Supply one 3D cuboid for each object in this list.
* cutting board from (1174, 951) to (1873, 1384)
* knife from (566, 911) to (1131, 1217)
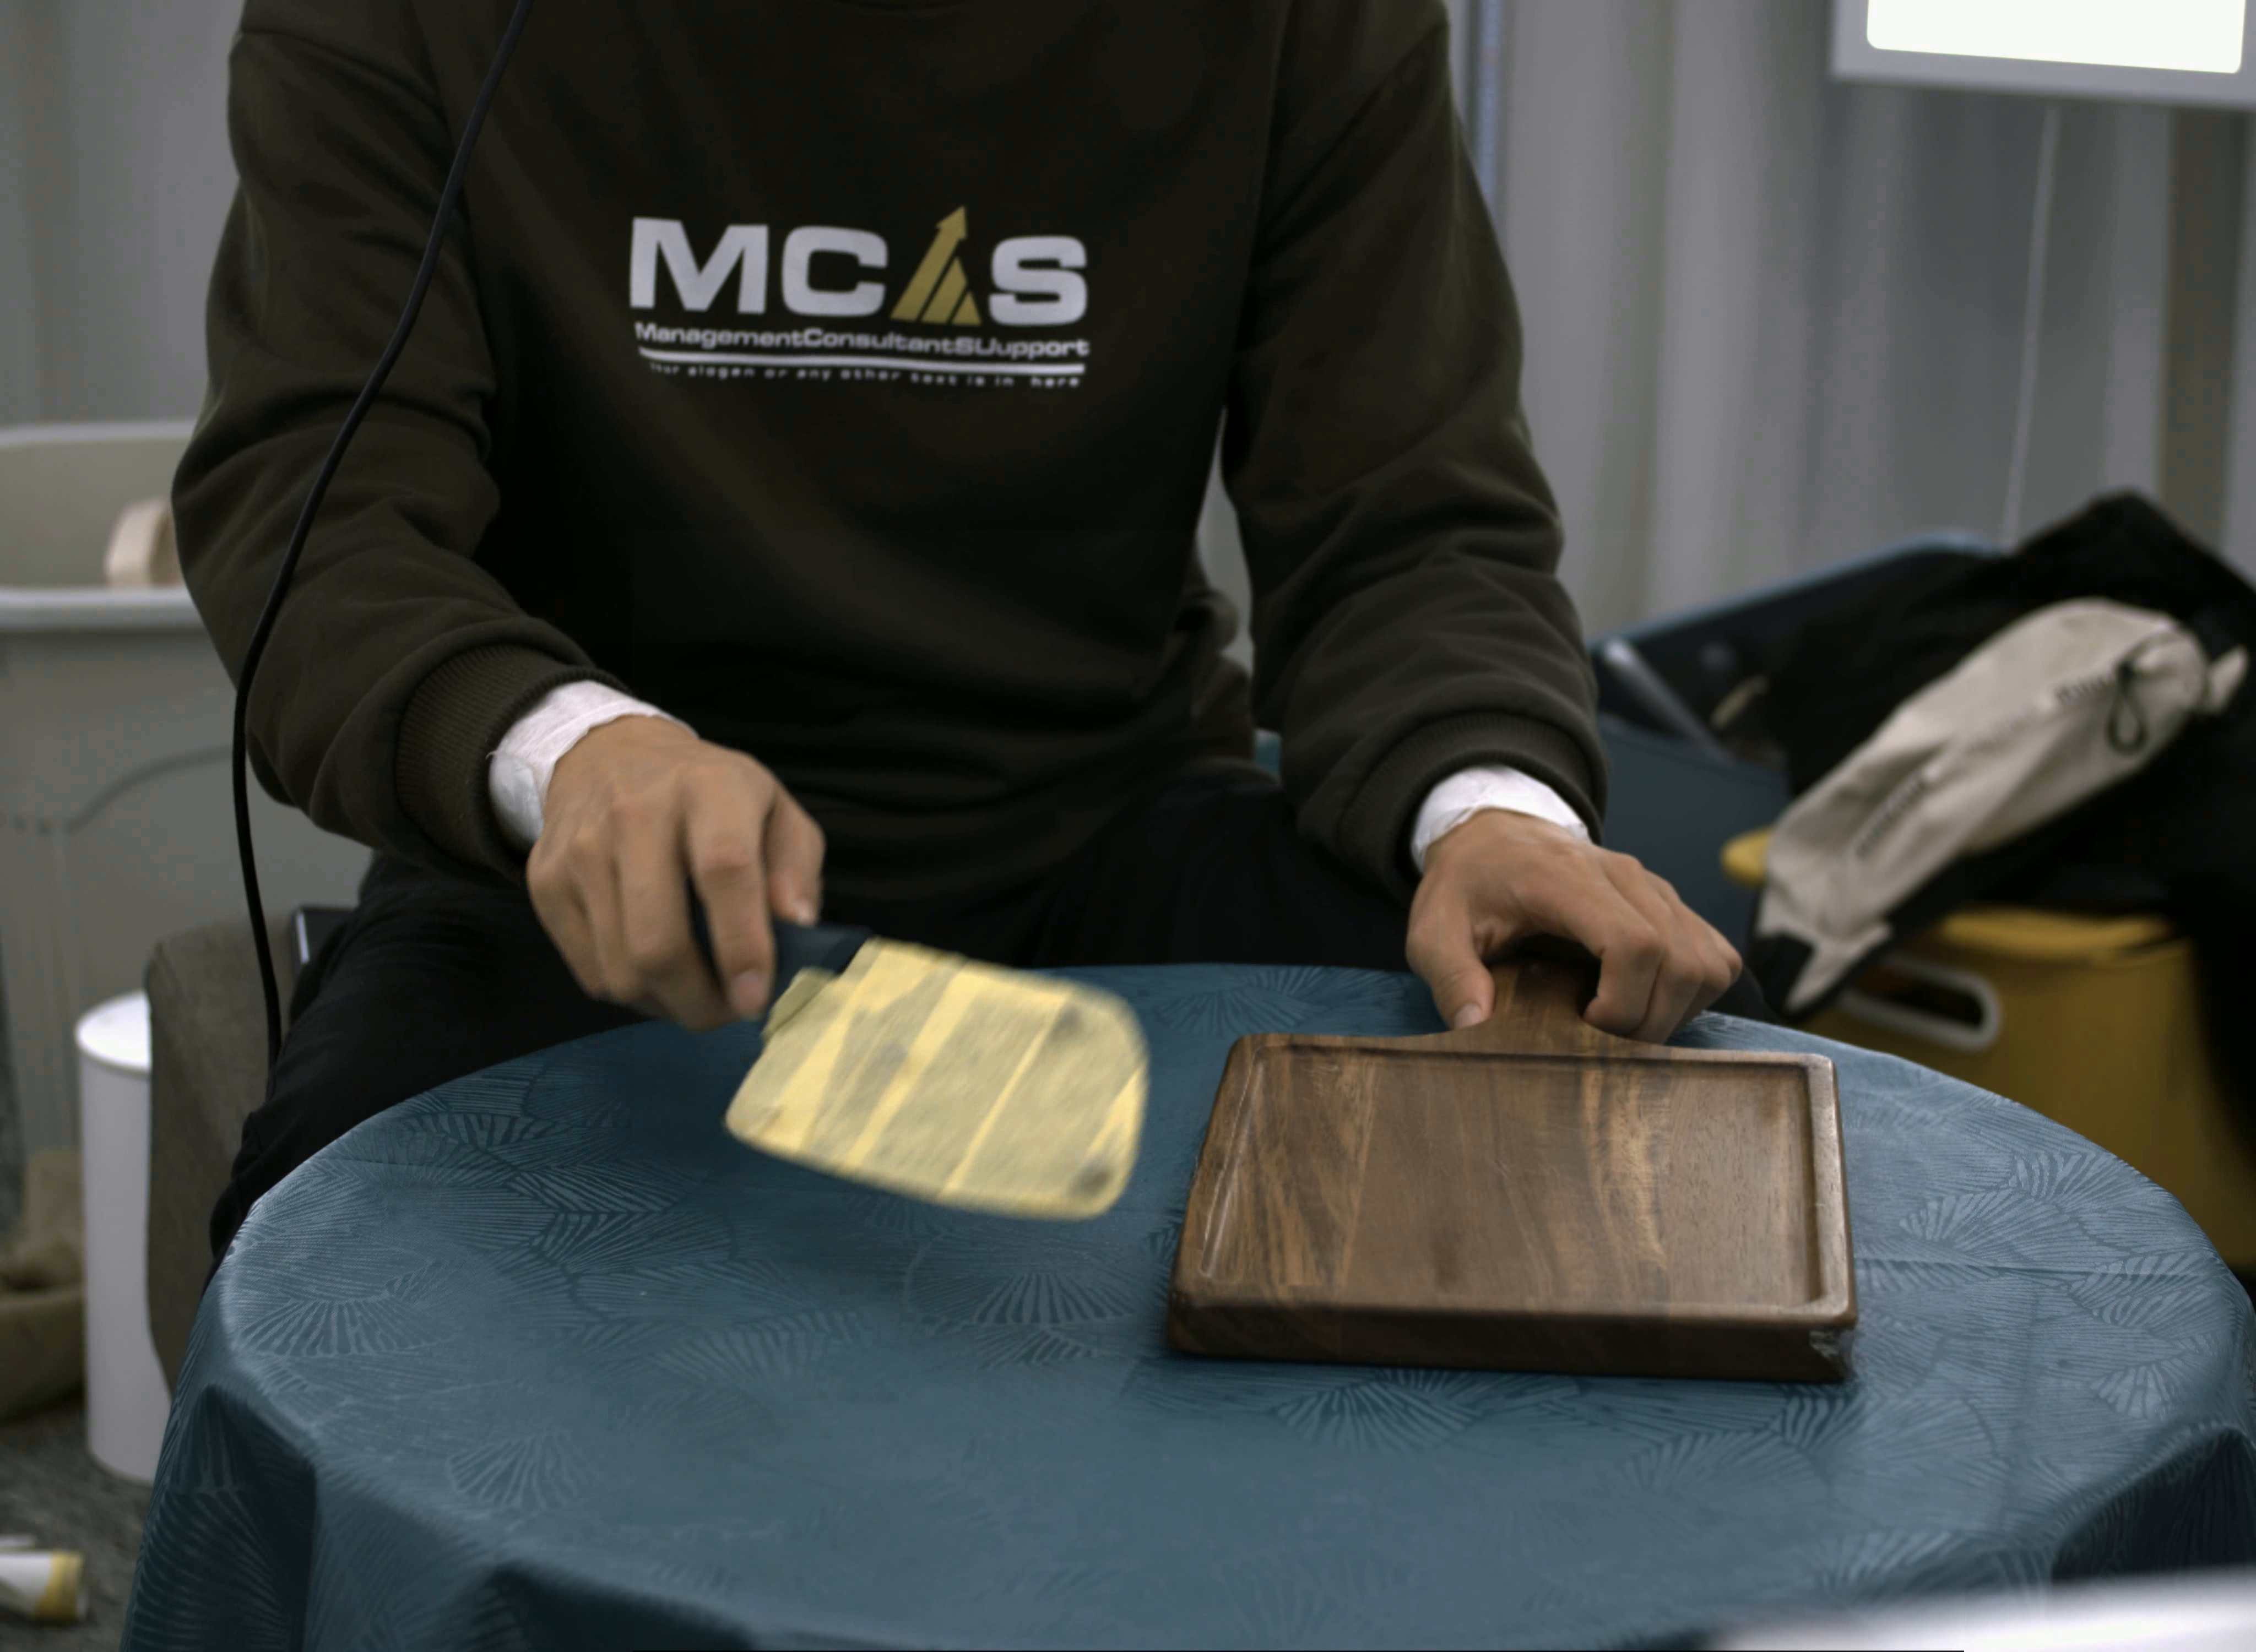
[{"bbox_3d":[0.124,0.098,1.640,0.200,0.023,0.351,3,15,4],"label":"cutting board"},{"bbox_3d":[-0.091,0.068,1.563,0.286,0.027,0.081,16,64,51],"label":"knife"}]
